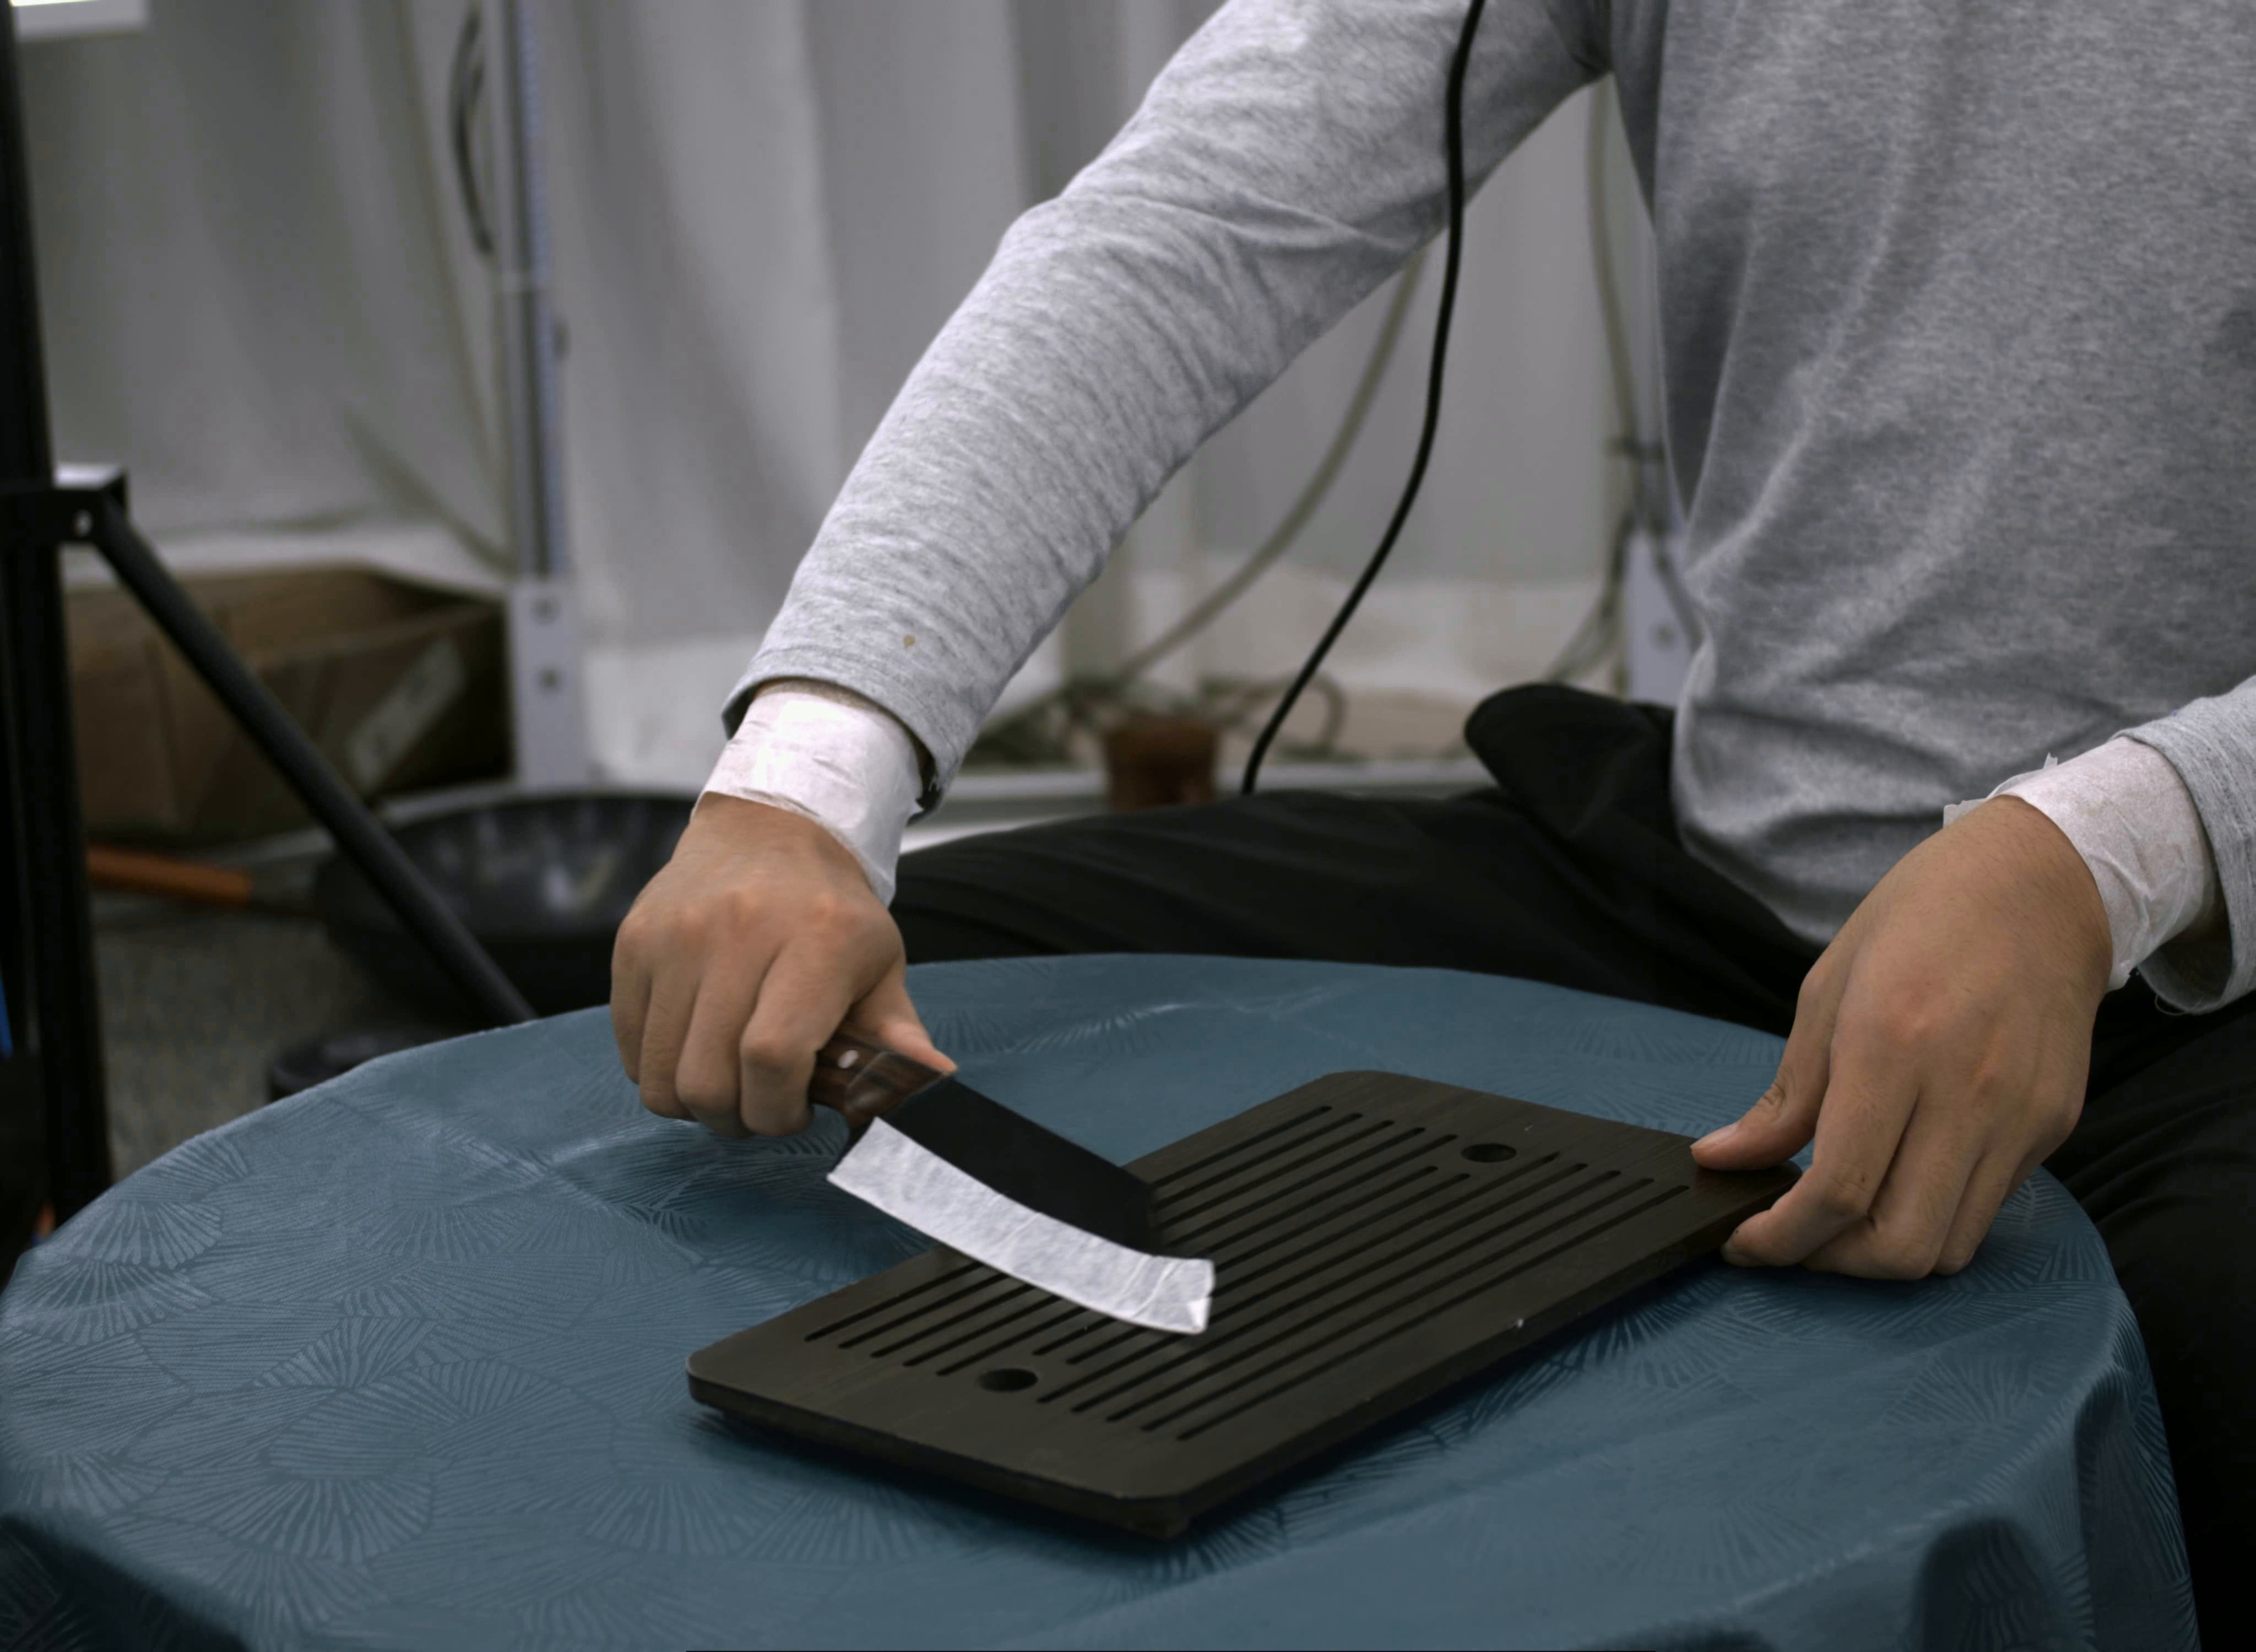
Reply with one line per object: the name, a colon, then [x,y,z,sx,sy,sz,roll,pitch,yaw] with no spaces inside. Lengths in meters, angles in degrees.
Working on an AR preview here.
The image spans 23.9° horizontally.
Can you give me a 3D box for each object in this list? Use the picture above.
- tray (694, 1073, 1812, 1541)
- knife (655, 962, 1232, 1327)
tray: [0.040,0.128,1.454,0.174,0.018,0.299,10,20,40]
knife: [-0.055,0.089,1.515,0.050,0.019,0.296,-50,37,-11]
